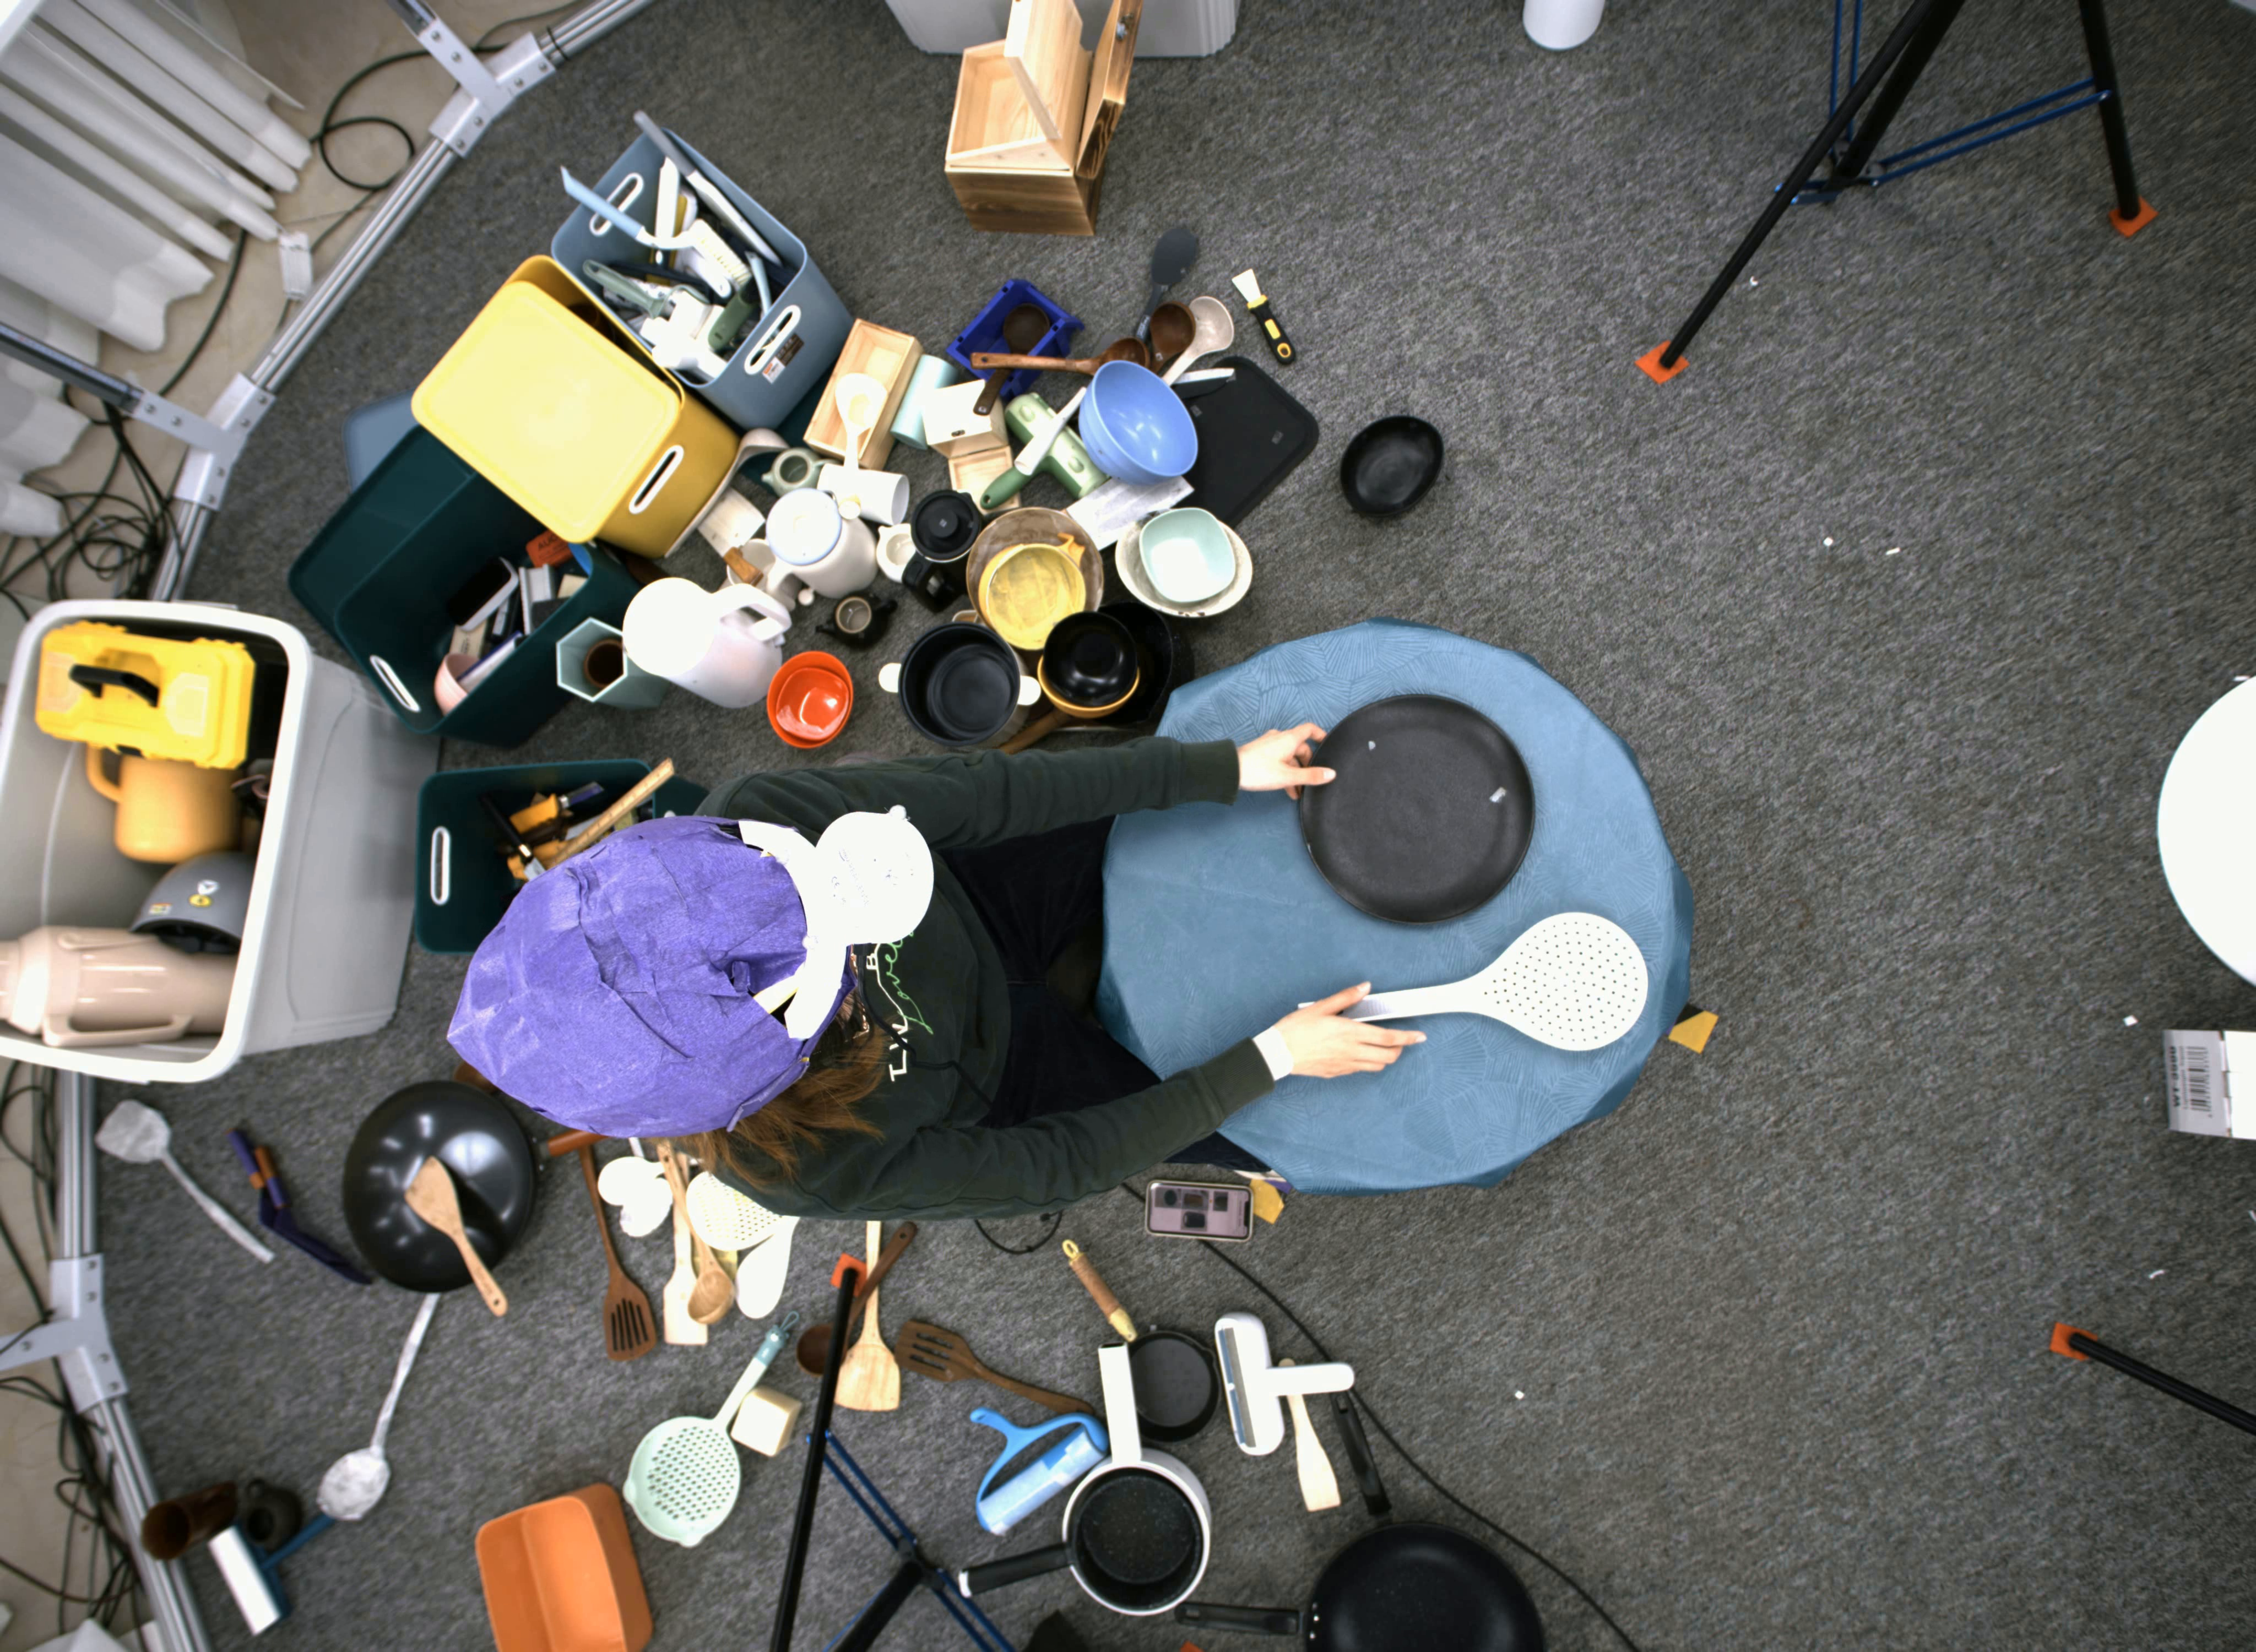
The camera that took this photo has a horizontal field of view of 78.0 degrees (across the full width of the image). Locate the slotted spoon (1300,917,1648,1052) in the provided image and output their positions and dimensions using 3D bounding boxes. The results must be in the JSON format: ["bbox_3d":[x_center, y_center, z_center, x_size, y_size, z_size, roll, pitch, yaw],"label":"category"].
[{"bbox_3d":[0.351,0.175,1.420,0.351,0.046,0.135,-8,82,11],"label":"slotted spoon"}]

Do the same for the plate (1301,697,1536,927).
[{"bbox_3d":[0.305,-0.016,1.453,0.245,0.023,0.243,-1,86,10],"label":"plate"}]
